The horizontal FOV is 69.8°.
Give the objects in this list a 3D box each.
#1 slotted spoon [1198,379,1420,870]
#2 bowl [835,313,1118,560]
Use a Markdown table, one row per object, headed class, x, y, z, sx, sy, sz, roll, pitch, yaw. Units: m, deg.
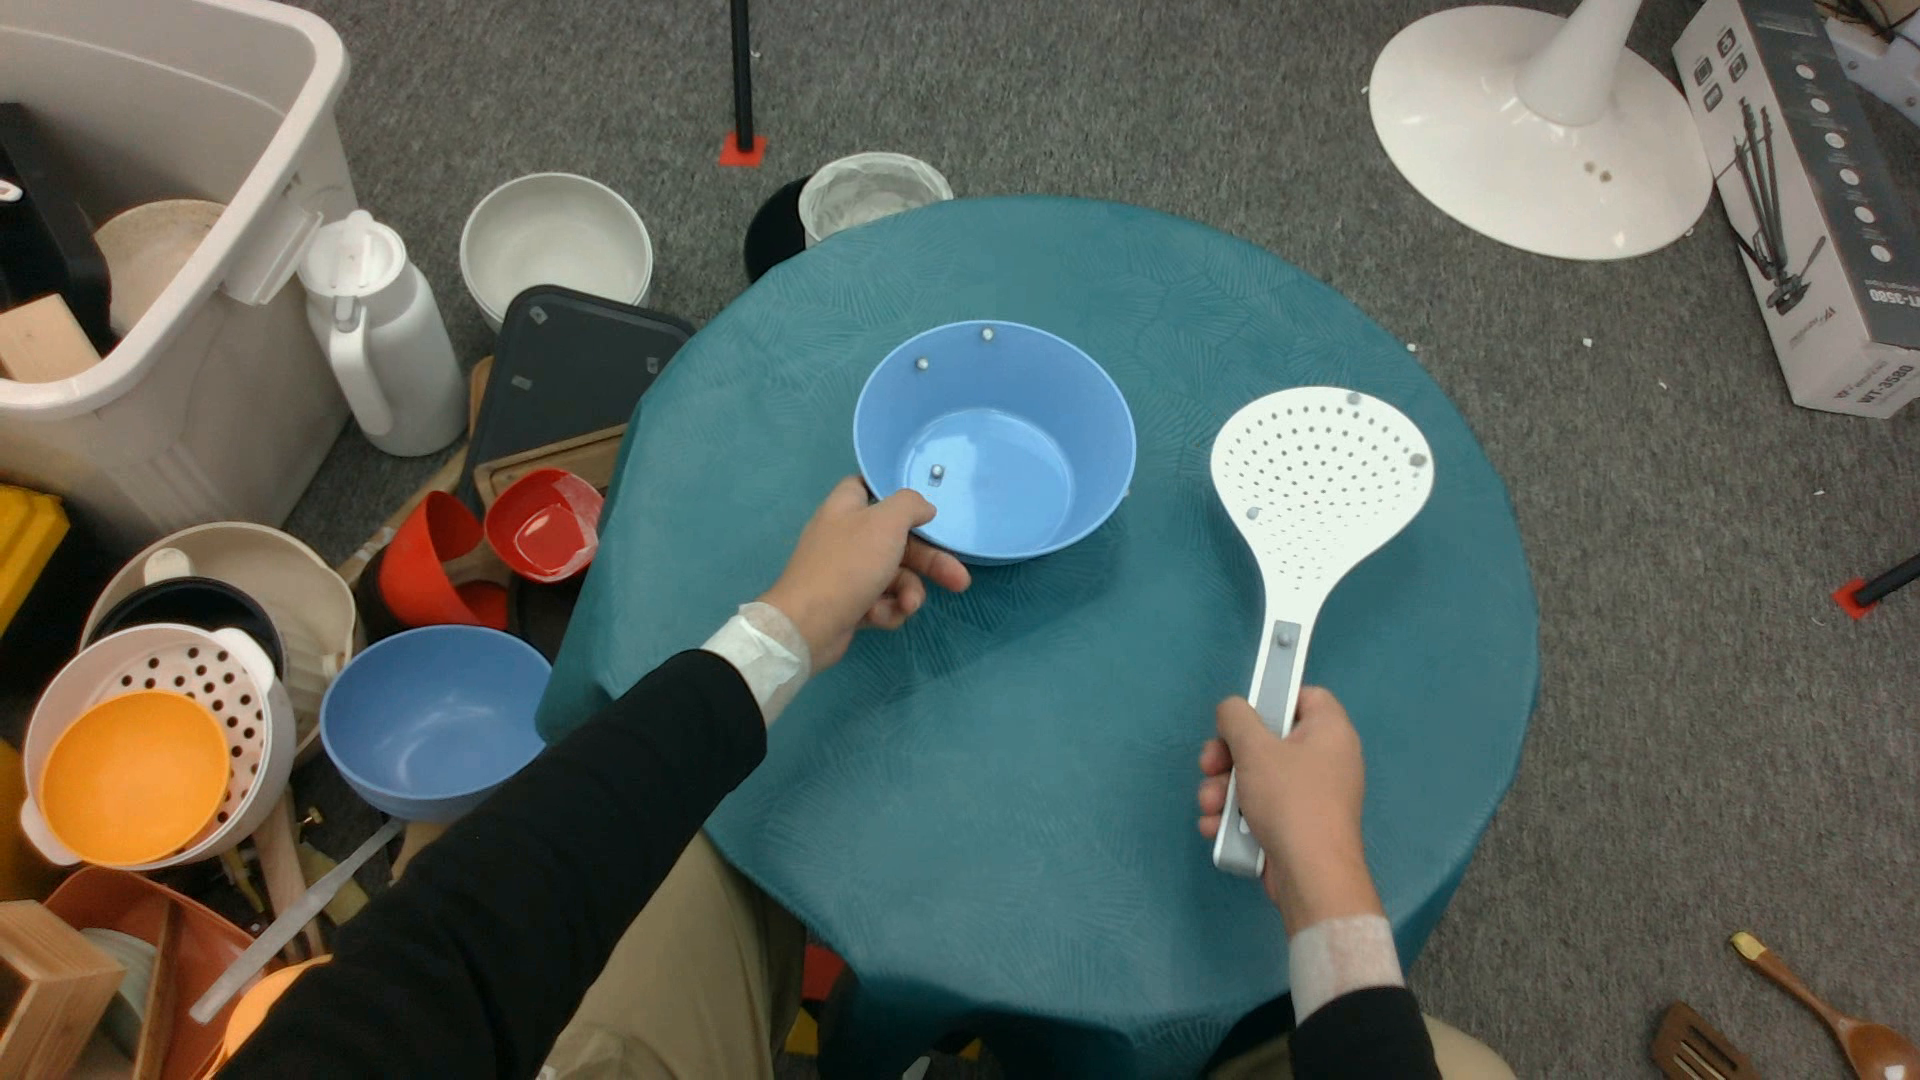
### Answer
| class | x | y | z | sx | sy | sz | roll | pitch | yaw |
| --- | --- | --- | --- | --- | --- | --- | --- | --- | --- |
| slotted spoon | 0.191 | 0.035 | 0.822 | 0.136 | 0.045 | 0.351 | 11 | 50 | 15 |
| bowl | 0.008 | -0.054 | 0.872 | 0.176 | 0.070 | 0.177 | 3 | 61 | -5 |
